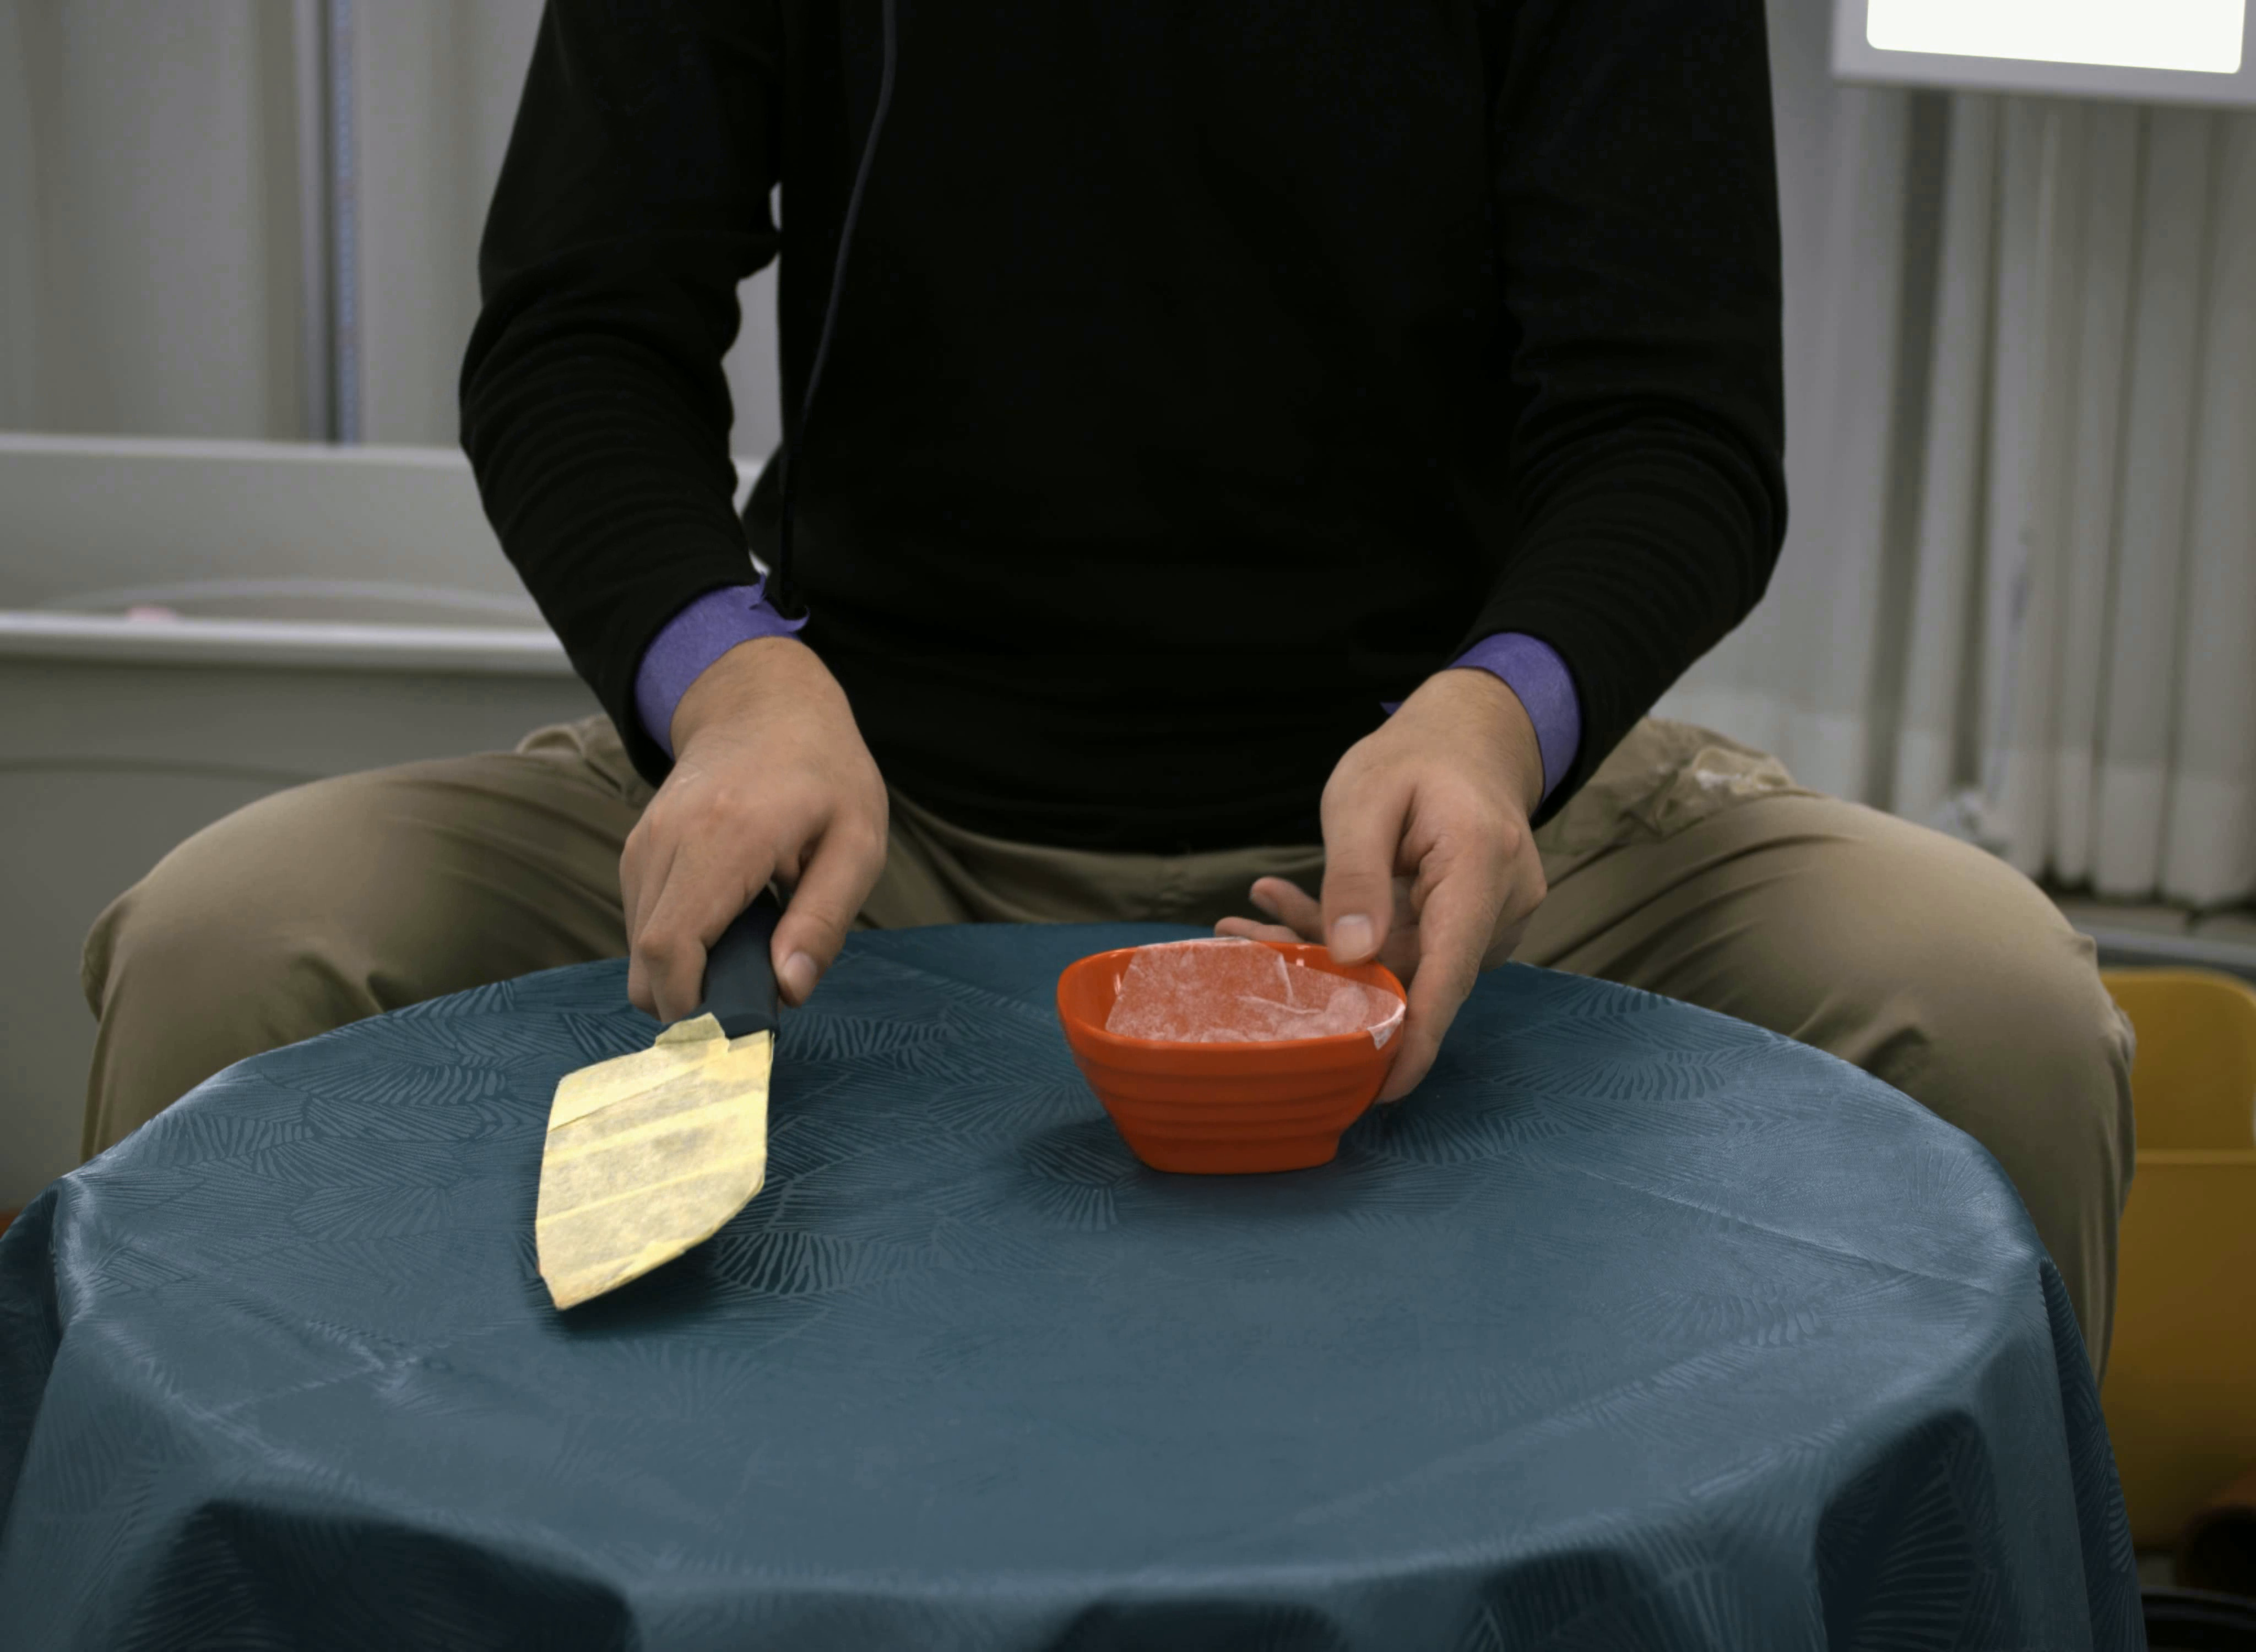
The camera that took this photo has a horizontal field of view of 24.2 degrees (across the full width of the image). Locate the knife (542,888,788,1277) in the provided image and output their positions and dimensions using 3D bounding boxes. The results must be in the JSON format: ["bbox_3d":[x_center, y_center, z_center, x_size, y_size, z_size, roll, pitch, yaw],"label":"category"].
[{"bbox_3d":[-0.141,0.079,1.633,0.080,0.027,0.288,-14,19,6],"label":"knife"}]

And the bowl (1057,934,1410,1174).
[{"bbox_3d":[0.033,0.074,1.662,0.118,0.052,0.118,-1,17,1],"label":"bowl"}]
